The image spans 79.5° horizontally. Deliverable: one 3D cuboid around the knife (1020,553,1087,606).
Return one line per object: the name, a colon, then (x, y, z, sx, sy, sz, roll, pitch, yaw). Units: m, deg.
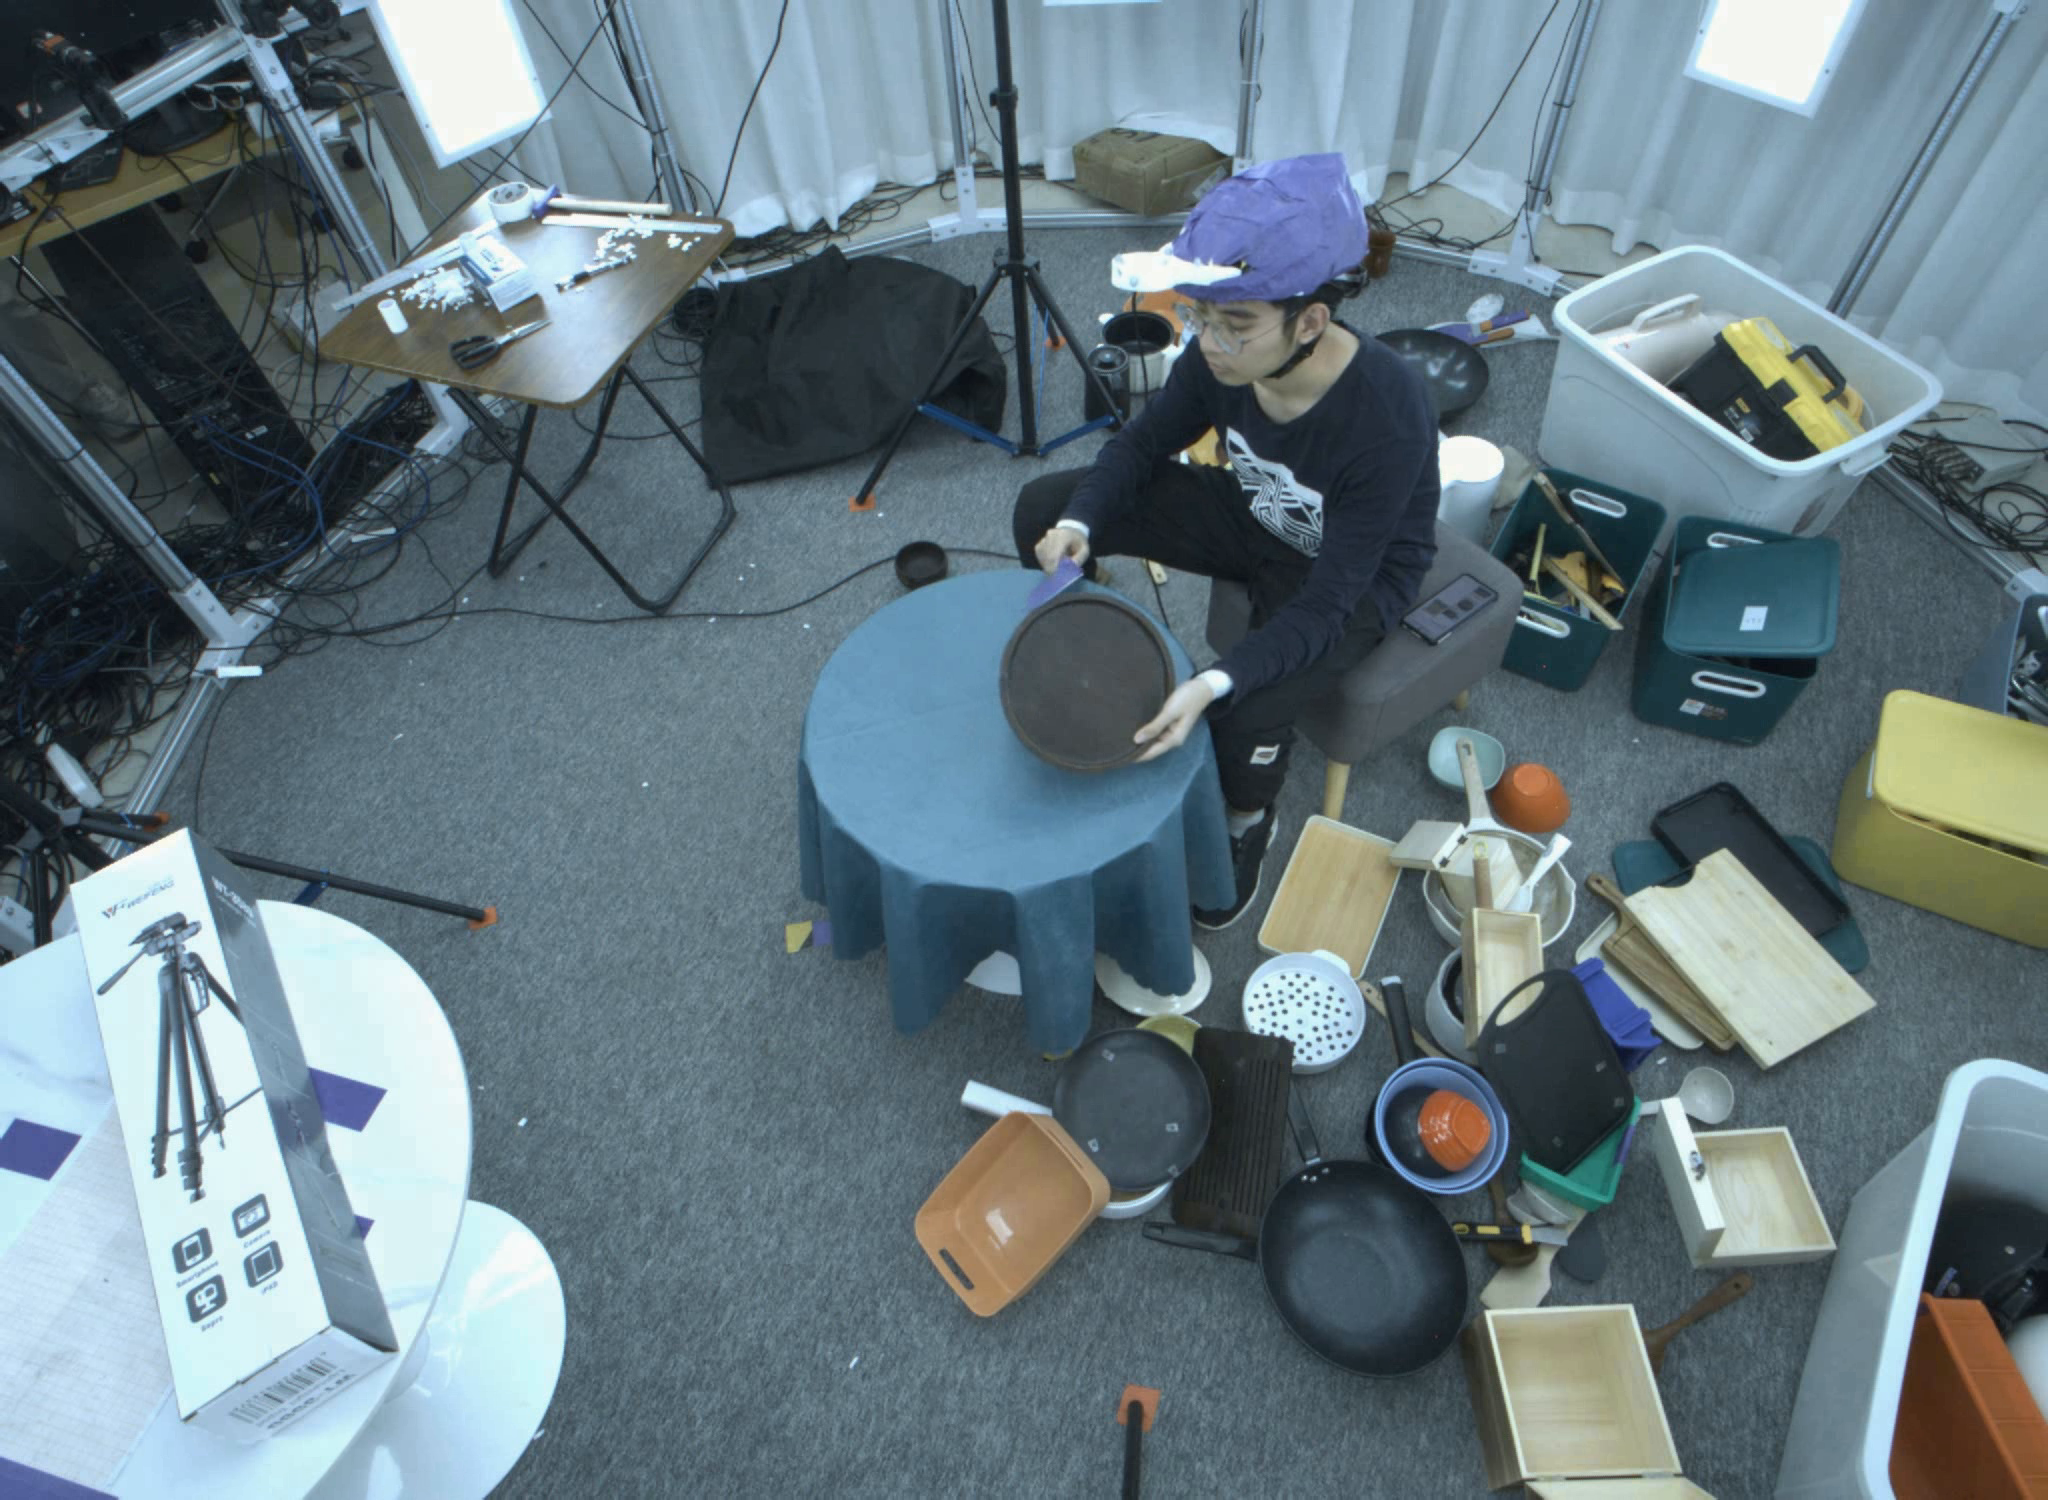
knife: (0.036, -0.254, 1.817, 0.103, 0.313, 0.032, -36, 100, 5)

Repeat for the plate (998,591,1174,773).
plate: (0.086, -0.095, 1.710, 0.257, 0.029, 0.254, 0, 90, -14)
